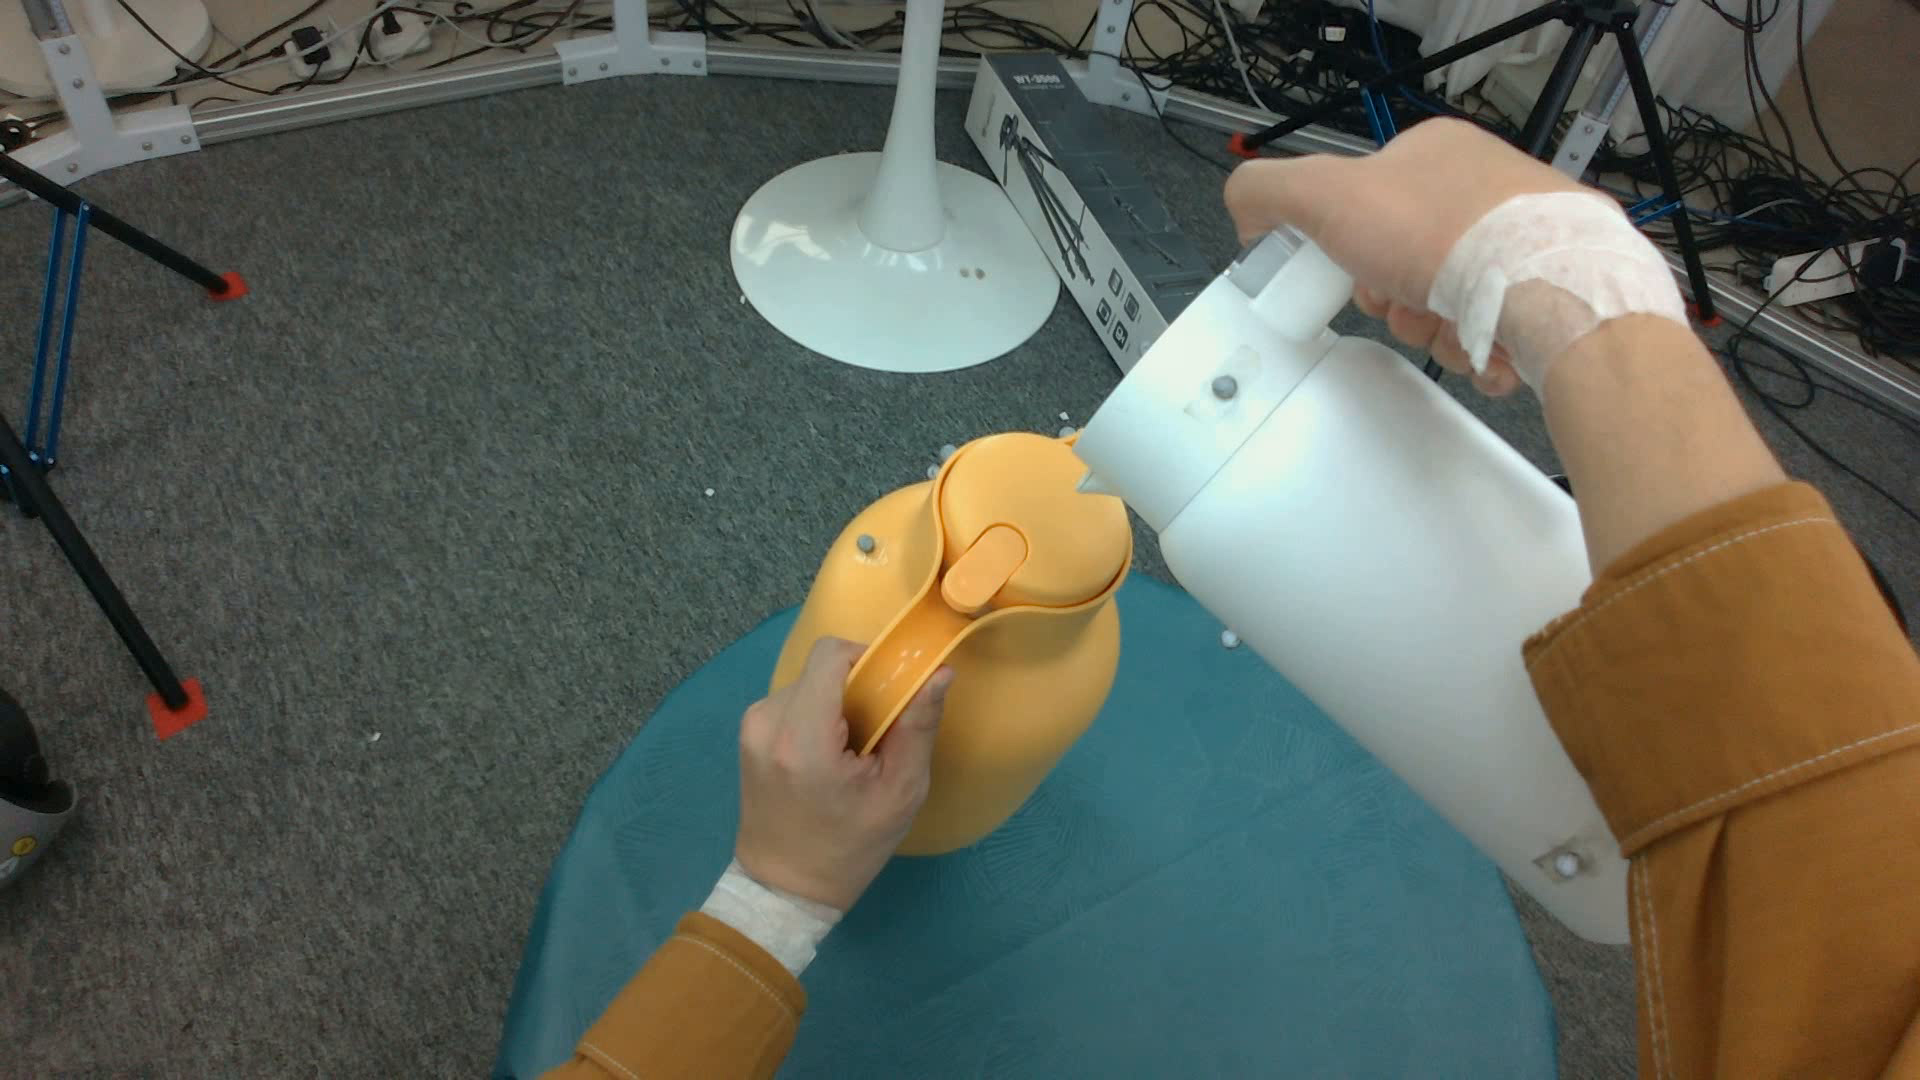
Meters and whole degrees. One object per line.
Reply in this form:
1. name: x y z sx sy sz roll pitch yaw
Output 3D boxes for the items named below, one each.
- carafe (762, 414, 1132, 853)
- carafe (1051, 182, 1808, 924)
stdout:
1. carafe: -0.015 0.055 0.697 0.163 0.259 0.203 40 51 10
2. carafe: 0.178 0.001 0.509 0.269 0.172 0.124 43 36 7
